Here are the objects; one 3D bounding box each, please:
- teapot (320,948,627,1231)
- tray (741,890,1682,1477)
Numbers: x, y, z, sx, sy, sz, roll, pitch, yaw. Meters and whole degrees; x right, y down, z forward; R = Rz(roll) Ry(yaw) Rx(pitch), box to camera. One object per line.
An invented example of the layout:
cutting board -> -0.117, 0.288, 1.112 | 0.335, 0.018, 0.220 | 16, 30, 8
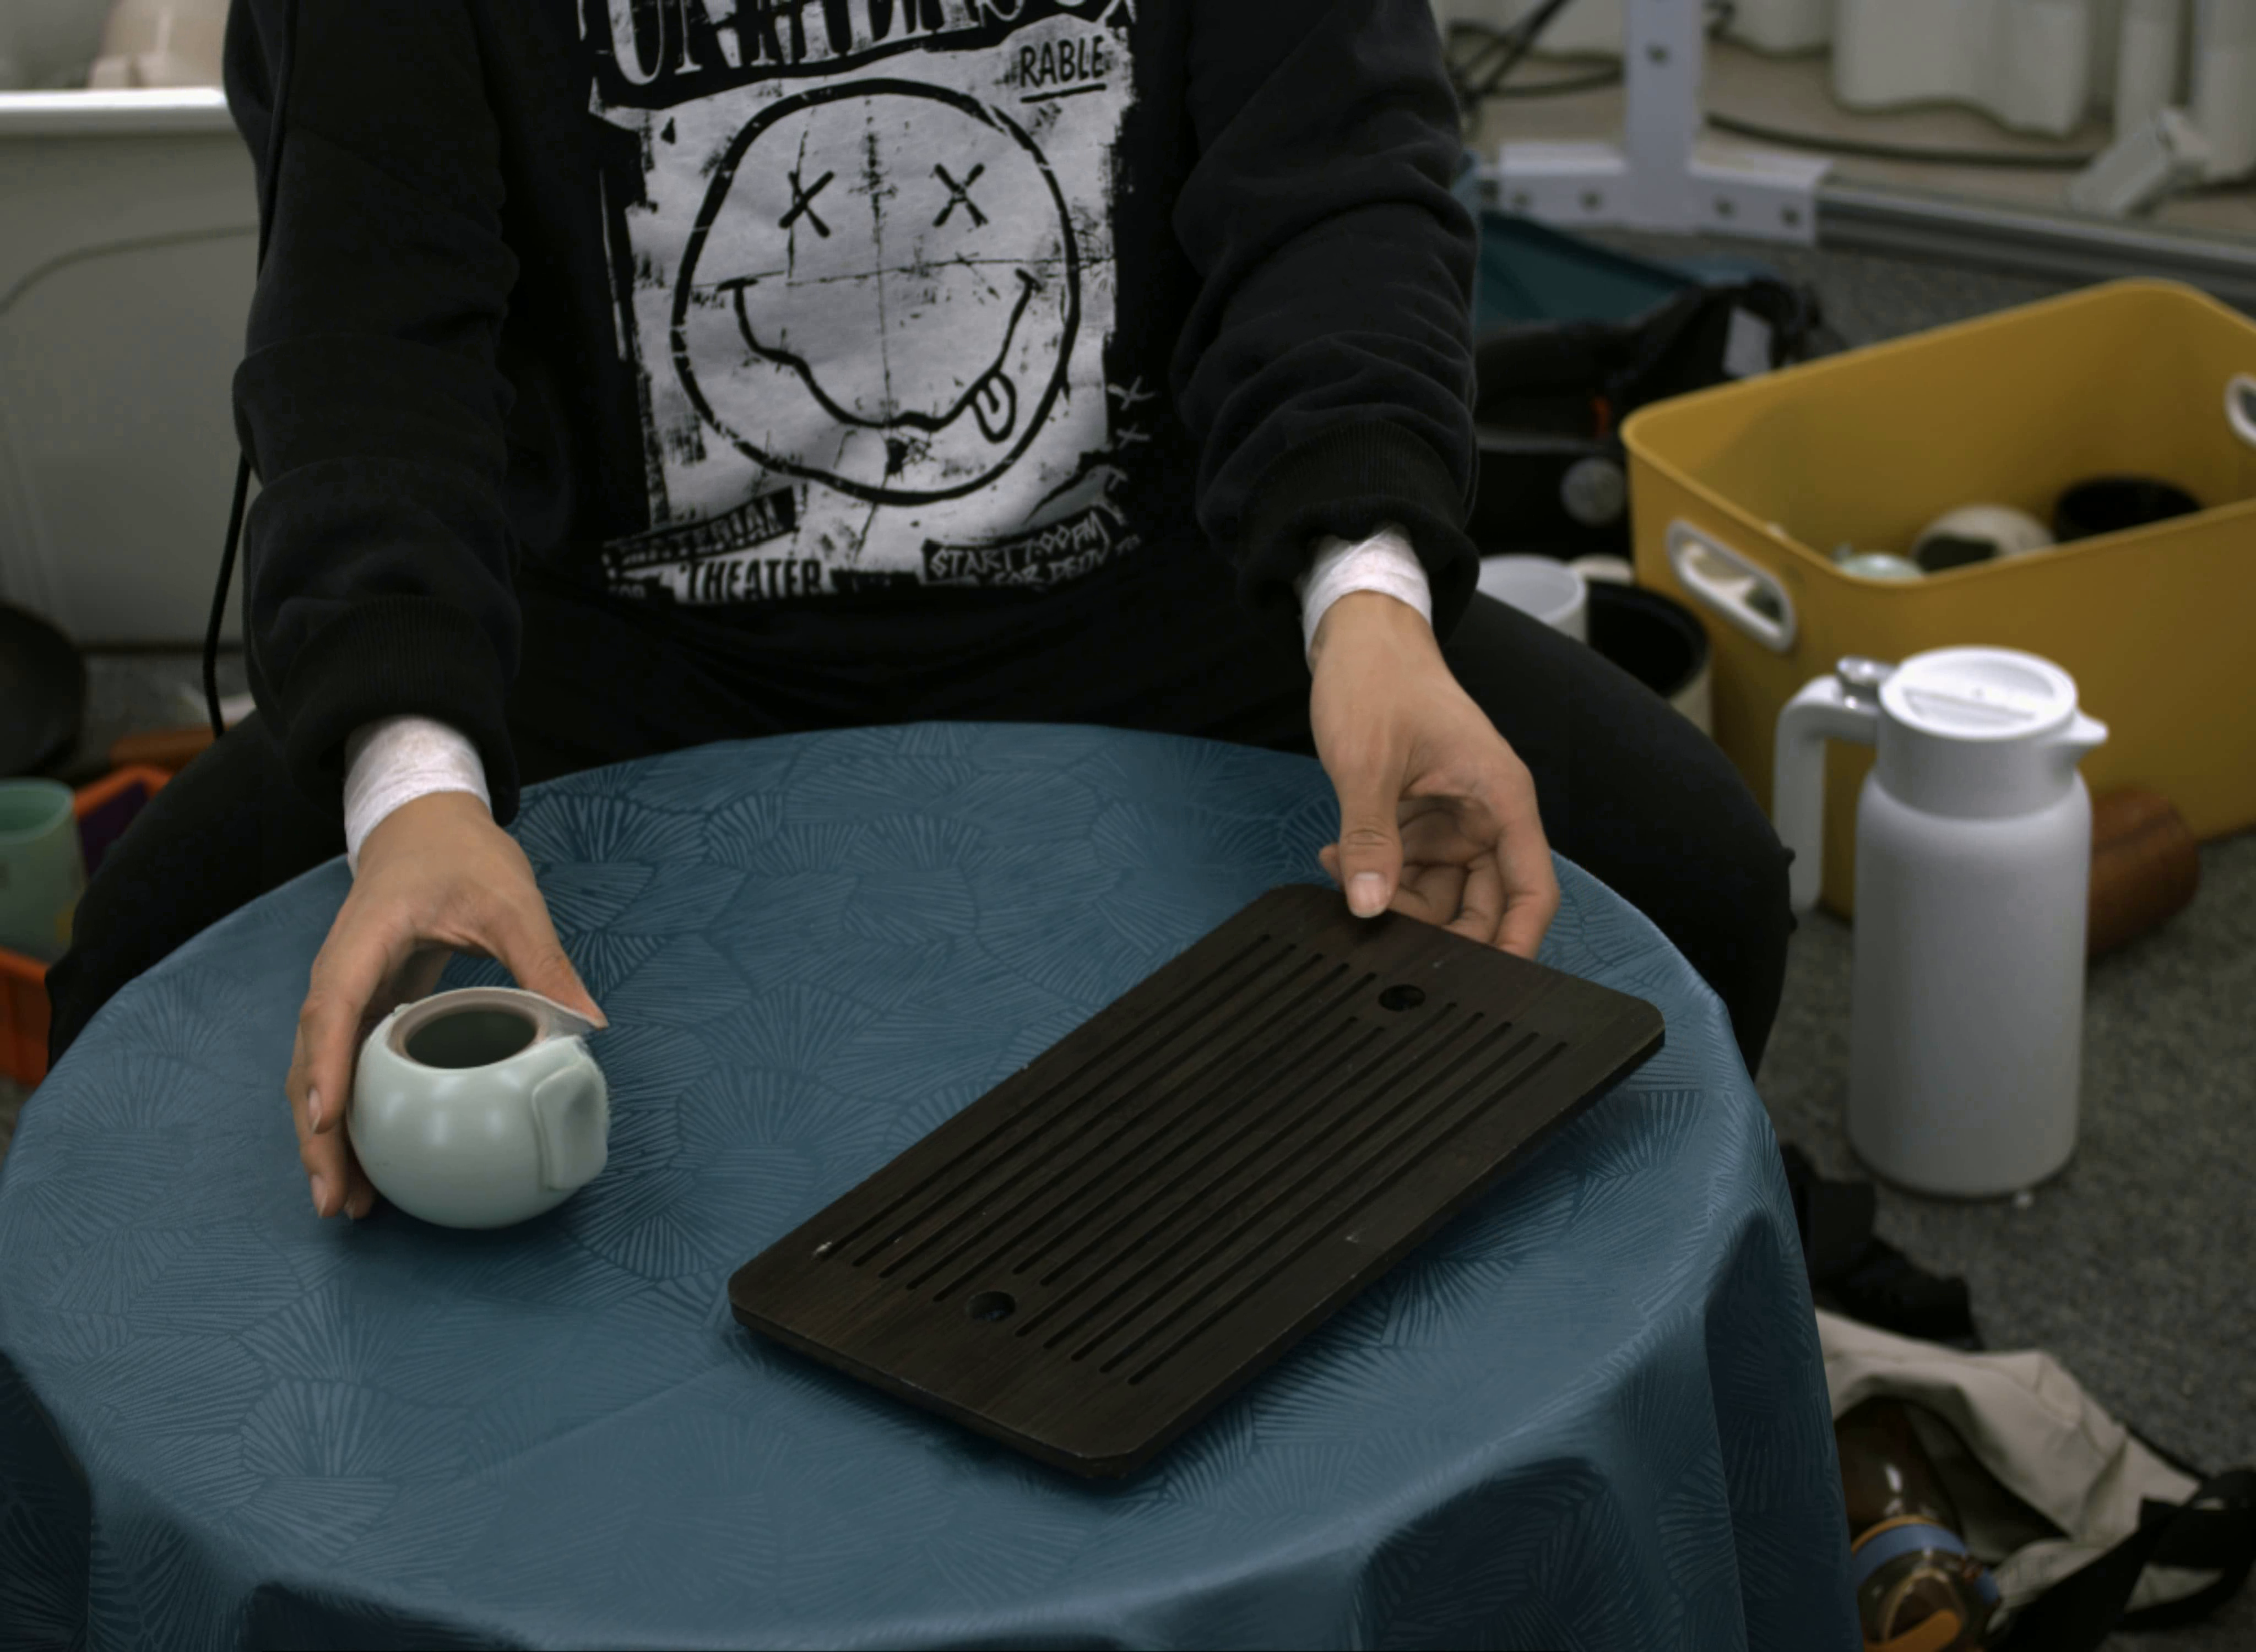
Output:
teapot -> -0.214, 0.093, 1.858 | 0.143, 0.074, 0.089 | 22, 36, 38
tray -> 0.031, 0.114, 1.839 | 0.169, 0.018, 0.310 | 19, 36, 35
